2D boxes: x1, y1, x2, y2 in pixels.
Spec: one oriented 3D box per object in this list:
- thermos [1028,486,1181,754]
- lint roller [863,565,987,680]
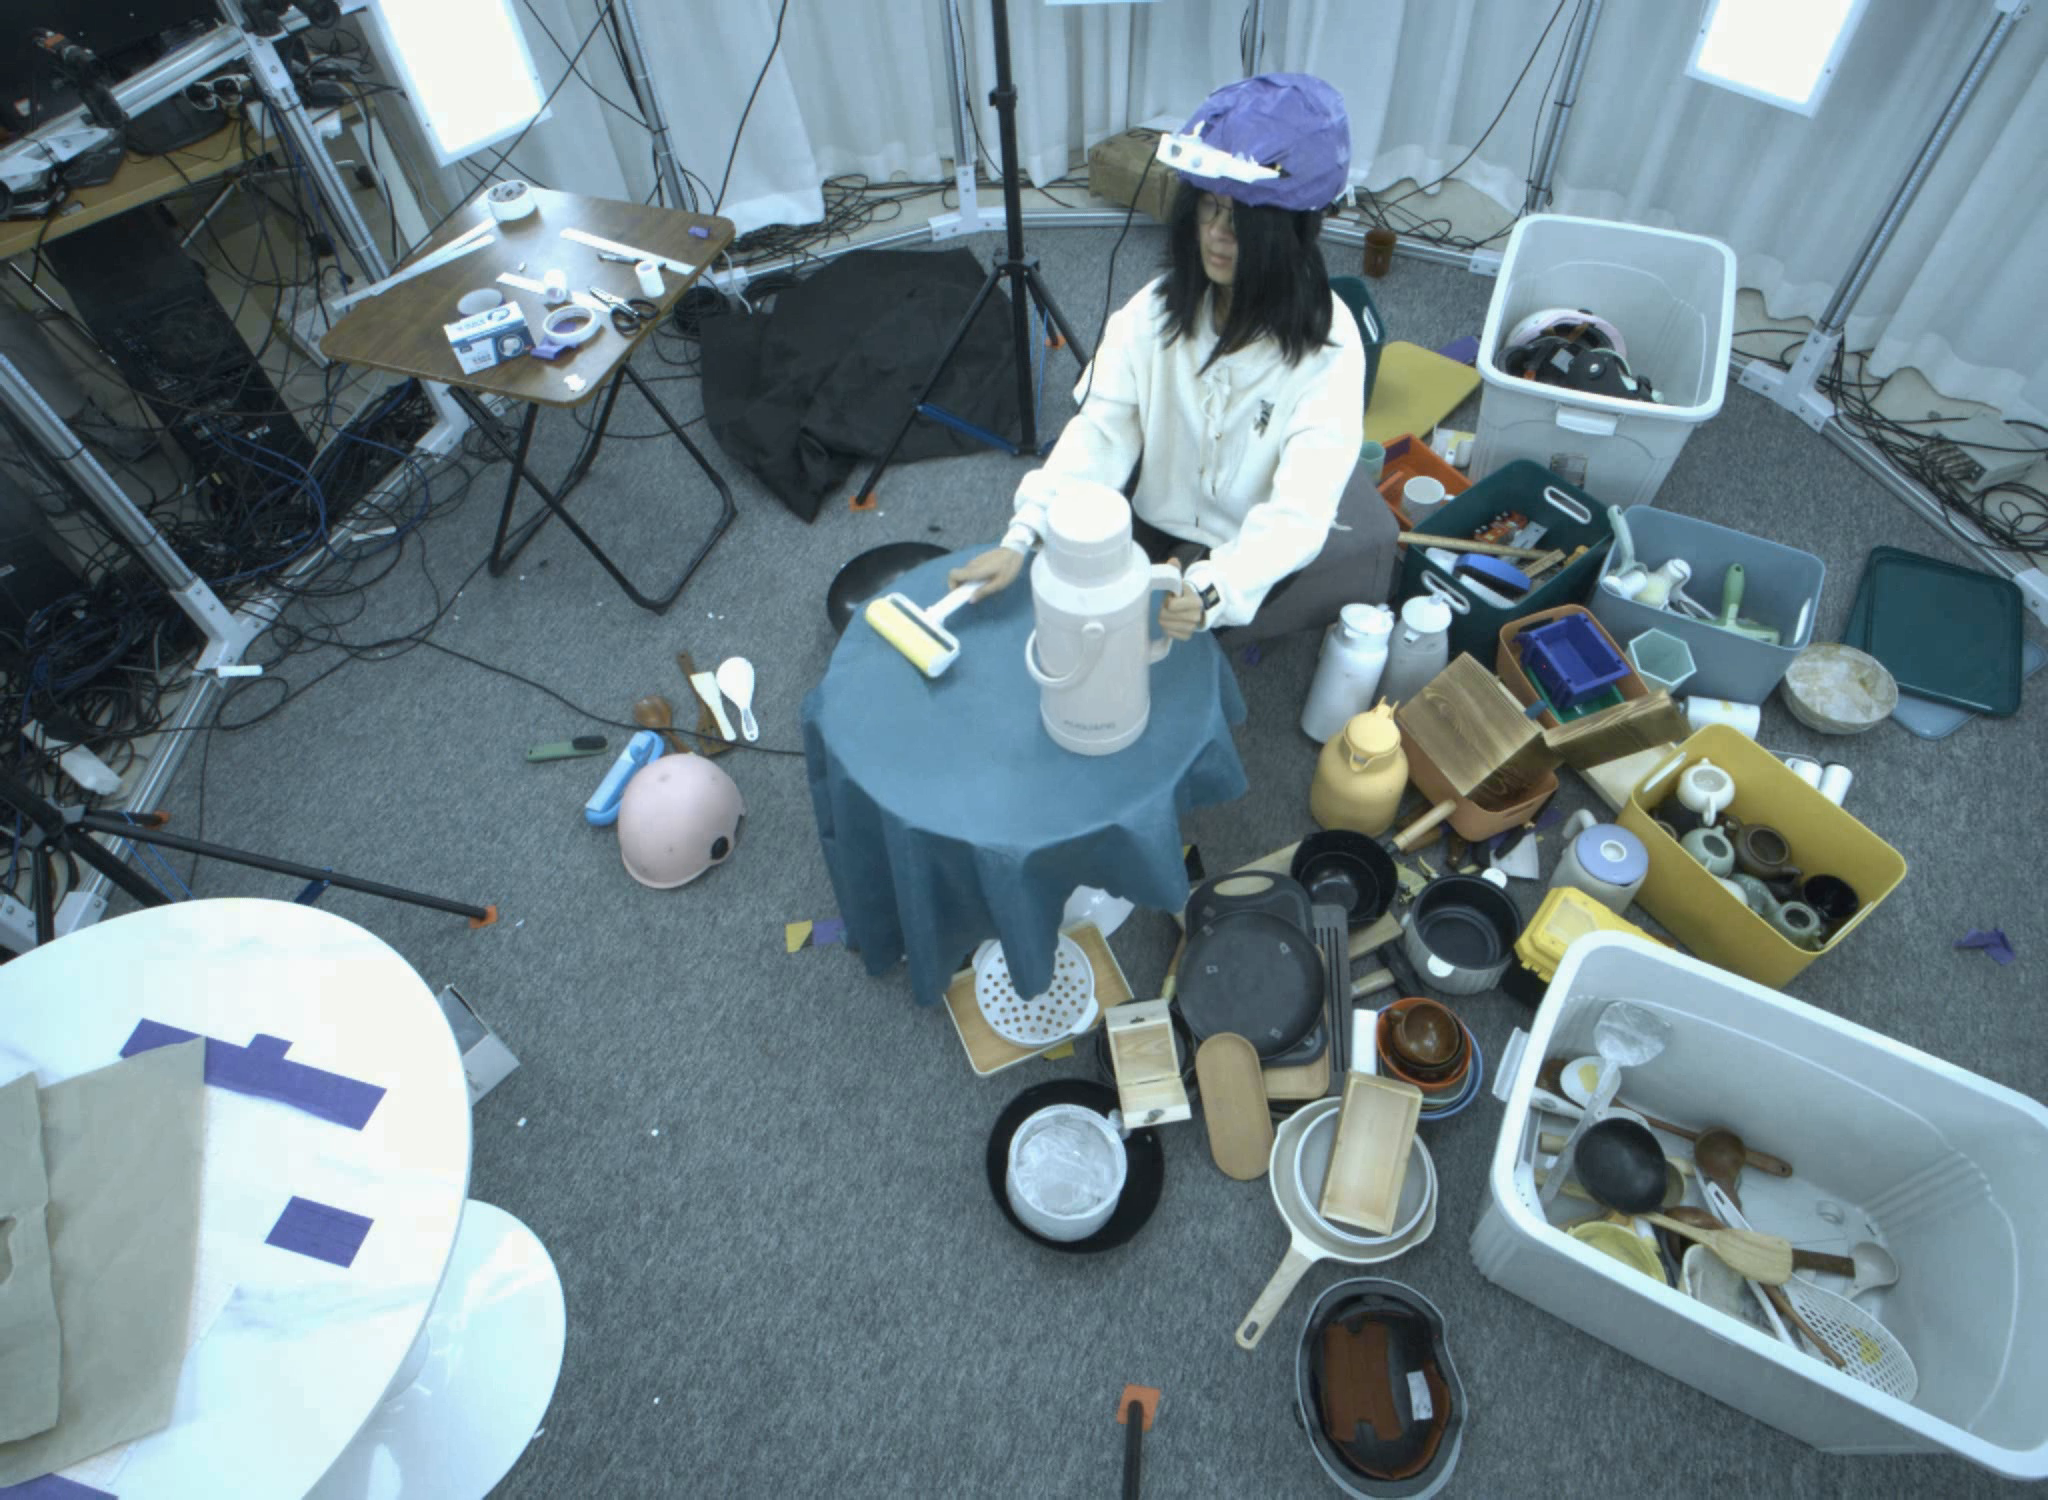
[{"bbox_3d":[0.105,-0.171,1.661,0.207,0.411,0.173,-3,54,2],"label":"thermos"},{"bbox_3d":[-0.134,-0.223,1.892,0.171,0.052,0.192,40,85,29],"label":"lint roller"}]
